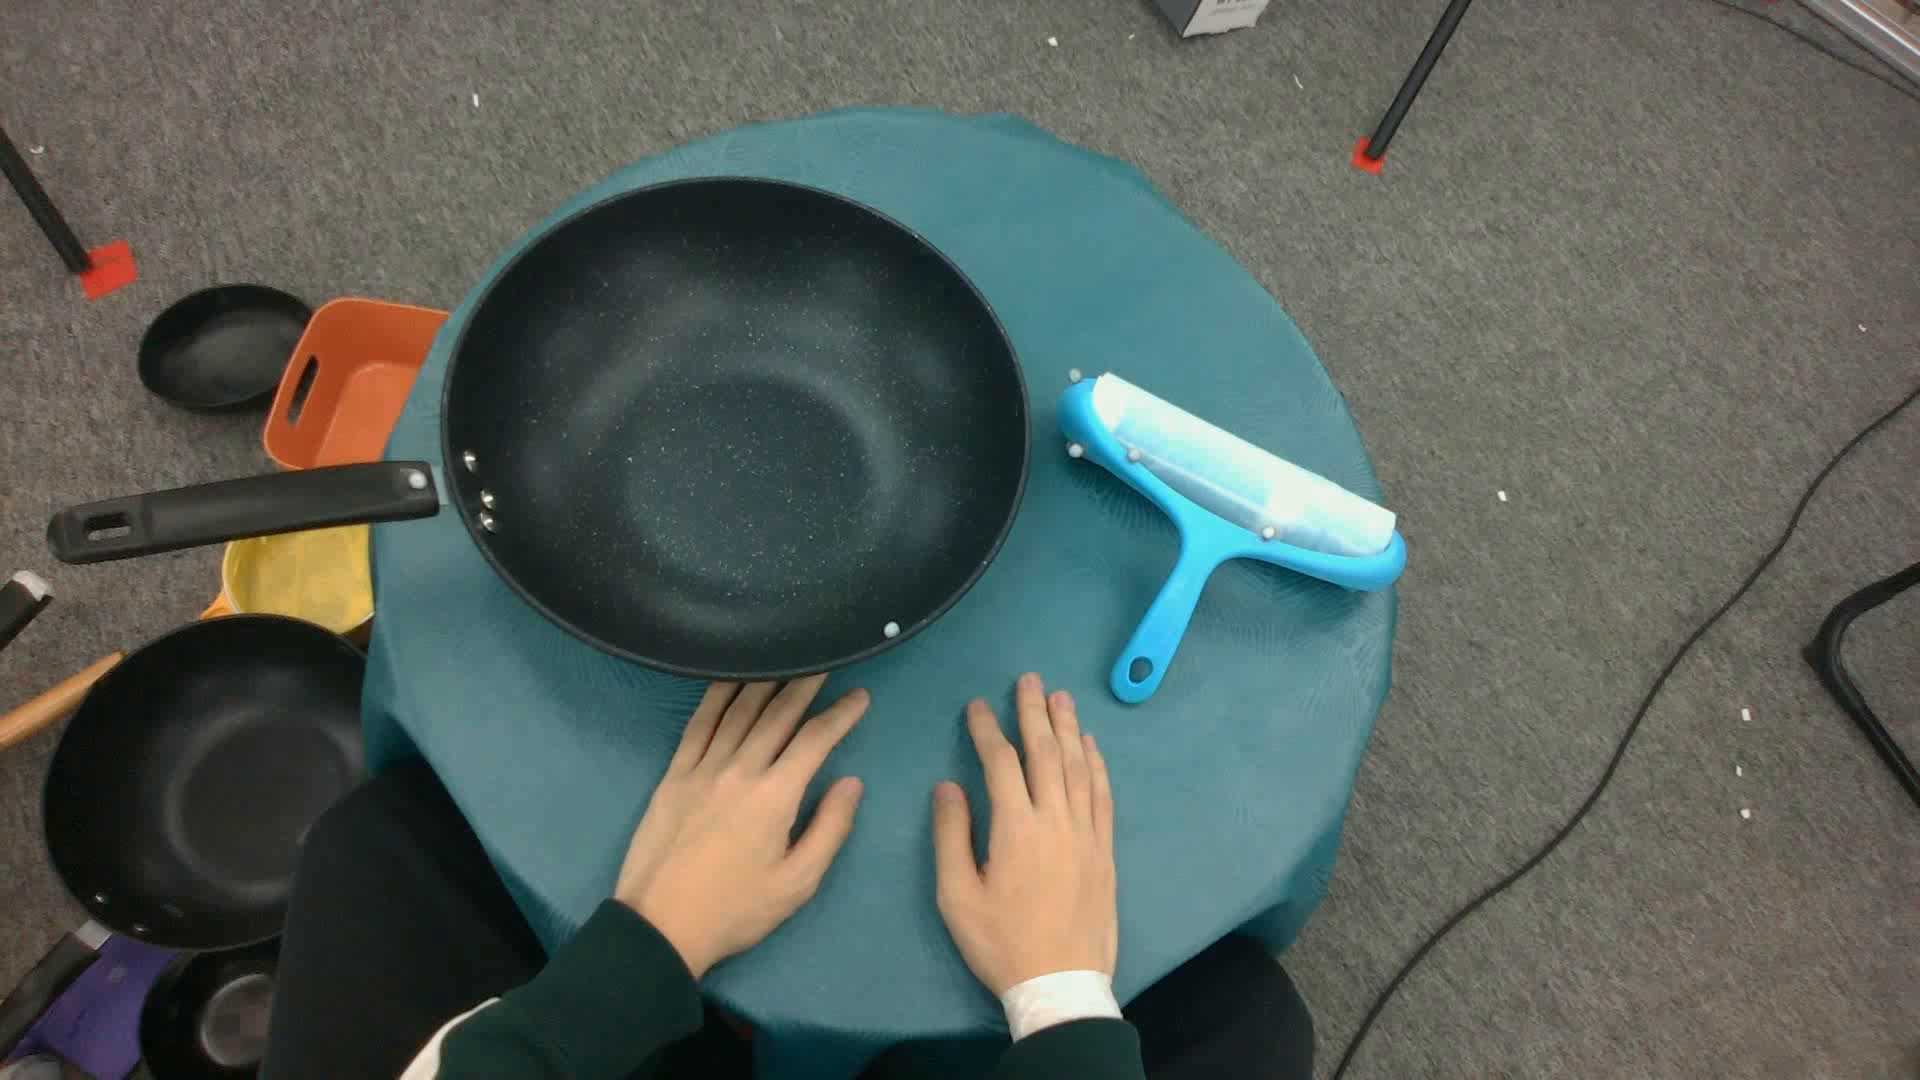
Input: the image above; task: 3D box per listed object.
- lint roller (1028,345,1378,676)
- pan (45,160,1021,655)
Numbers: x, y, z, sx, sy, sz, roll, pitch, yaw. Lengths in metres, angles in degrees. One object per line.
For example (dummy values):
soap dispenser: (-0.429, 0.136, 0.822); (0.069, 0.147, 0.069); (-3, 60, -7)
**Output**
lint roller: (0.127, -0.006, 0.804); (0.229, 0.067, 0.181); (25, 60, -2)
pan: (-0.200, -0.047, 0.734); (0.478, 0.111, 0.311); (-17, 67, -18)
